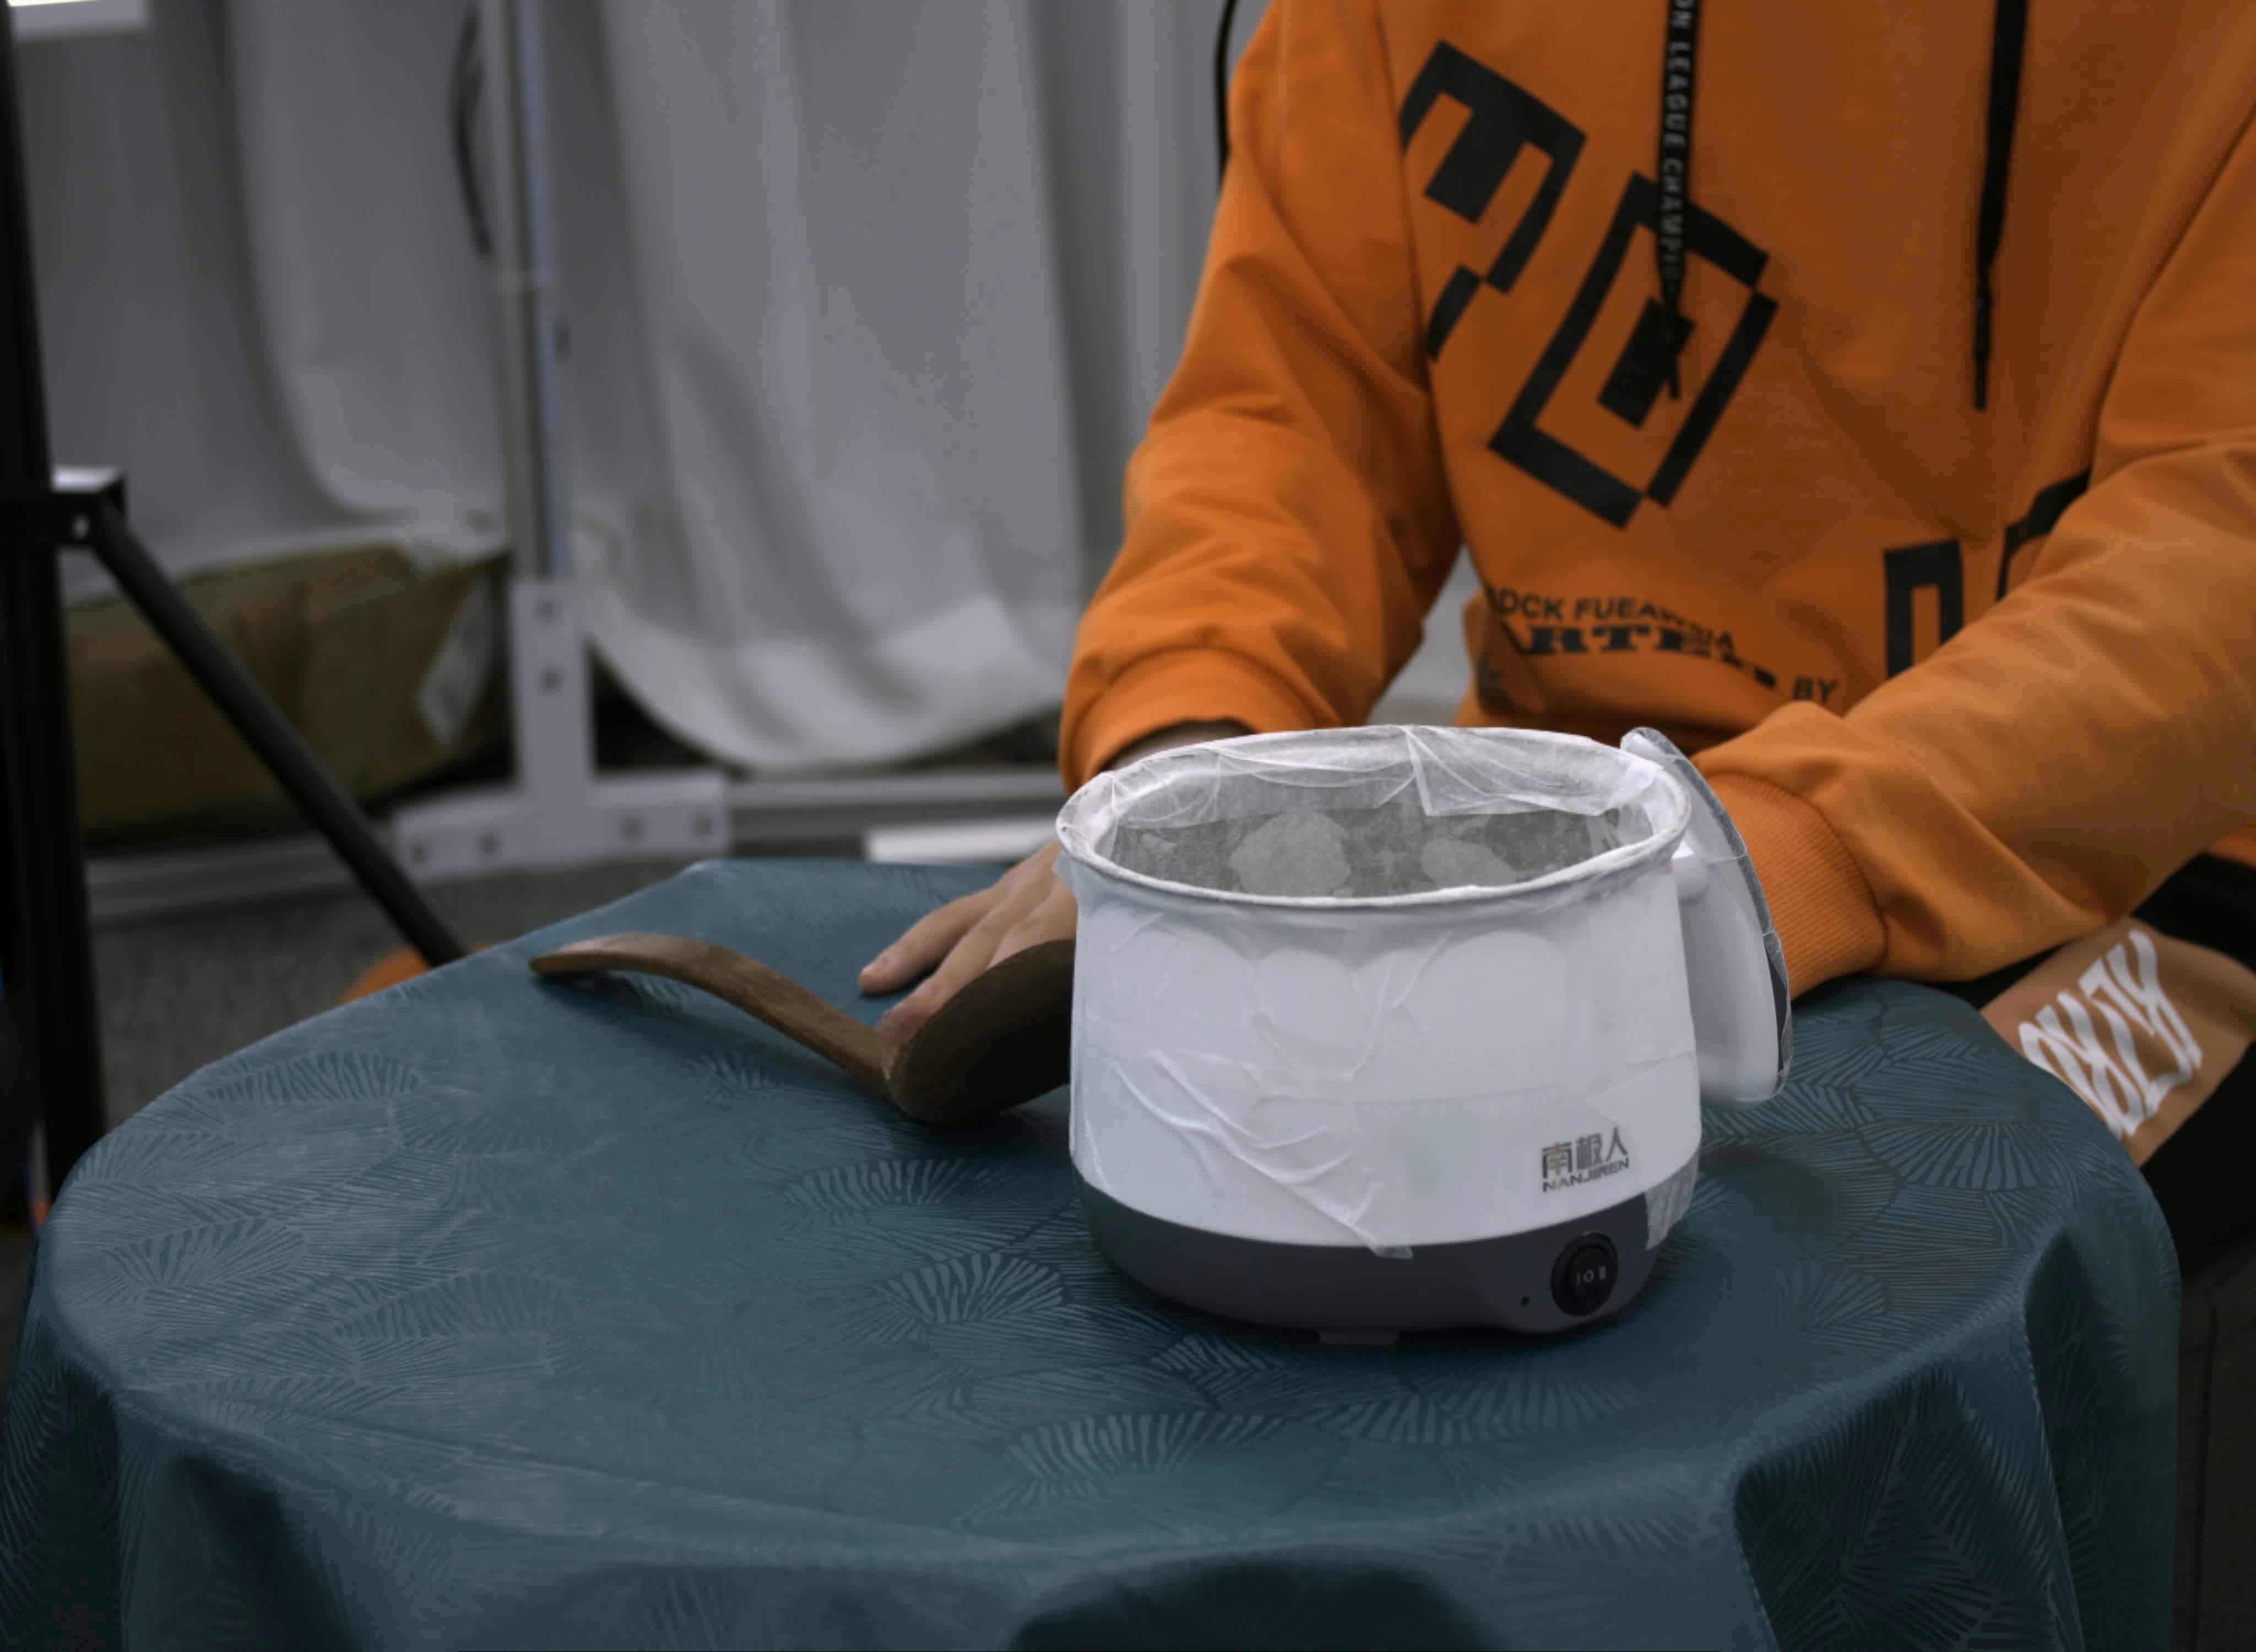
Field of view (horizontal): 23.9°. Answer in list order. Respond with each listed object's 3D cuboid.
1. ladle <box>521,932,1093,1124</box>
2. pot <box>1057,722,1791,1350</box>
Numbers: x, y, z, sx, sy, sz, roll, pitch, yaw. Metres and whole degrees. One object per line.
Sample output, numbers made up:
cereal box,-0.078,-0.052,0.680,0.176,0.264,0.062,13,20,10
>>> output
ladle,-0.108,0.041,1.686,0.074,0.071,0.280,-10,18,-37
pot,0.093,0.051,1.492,0.228,0.136,0.183,-14,19,-34
